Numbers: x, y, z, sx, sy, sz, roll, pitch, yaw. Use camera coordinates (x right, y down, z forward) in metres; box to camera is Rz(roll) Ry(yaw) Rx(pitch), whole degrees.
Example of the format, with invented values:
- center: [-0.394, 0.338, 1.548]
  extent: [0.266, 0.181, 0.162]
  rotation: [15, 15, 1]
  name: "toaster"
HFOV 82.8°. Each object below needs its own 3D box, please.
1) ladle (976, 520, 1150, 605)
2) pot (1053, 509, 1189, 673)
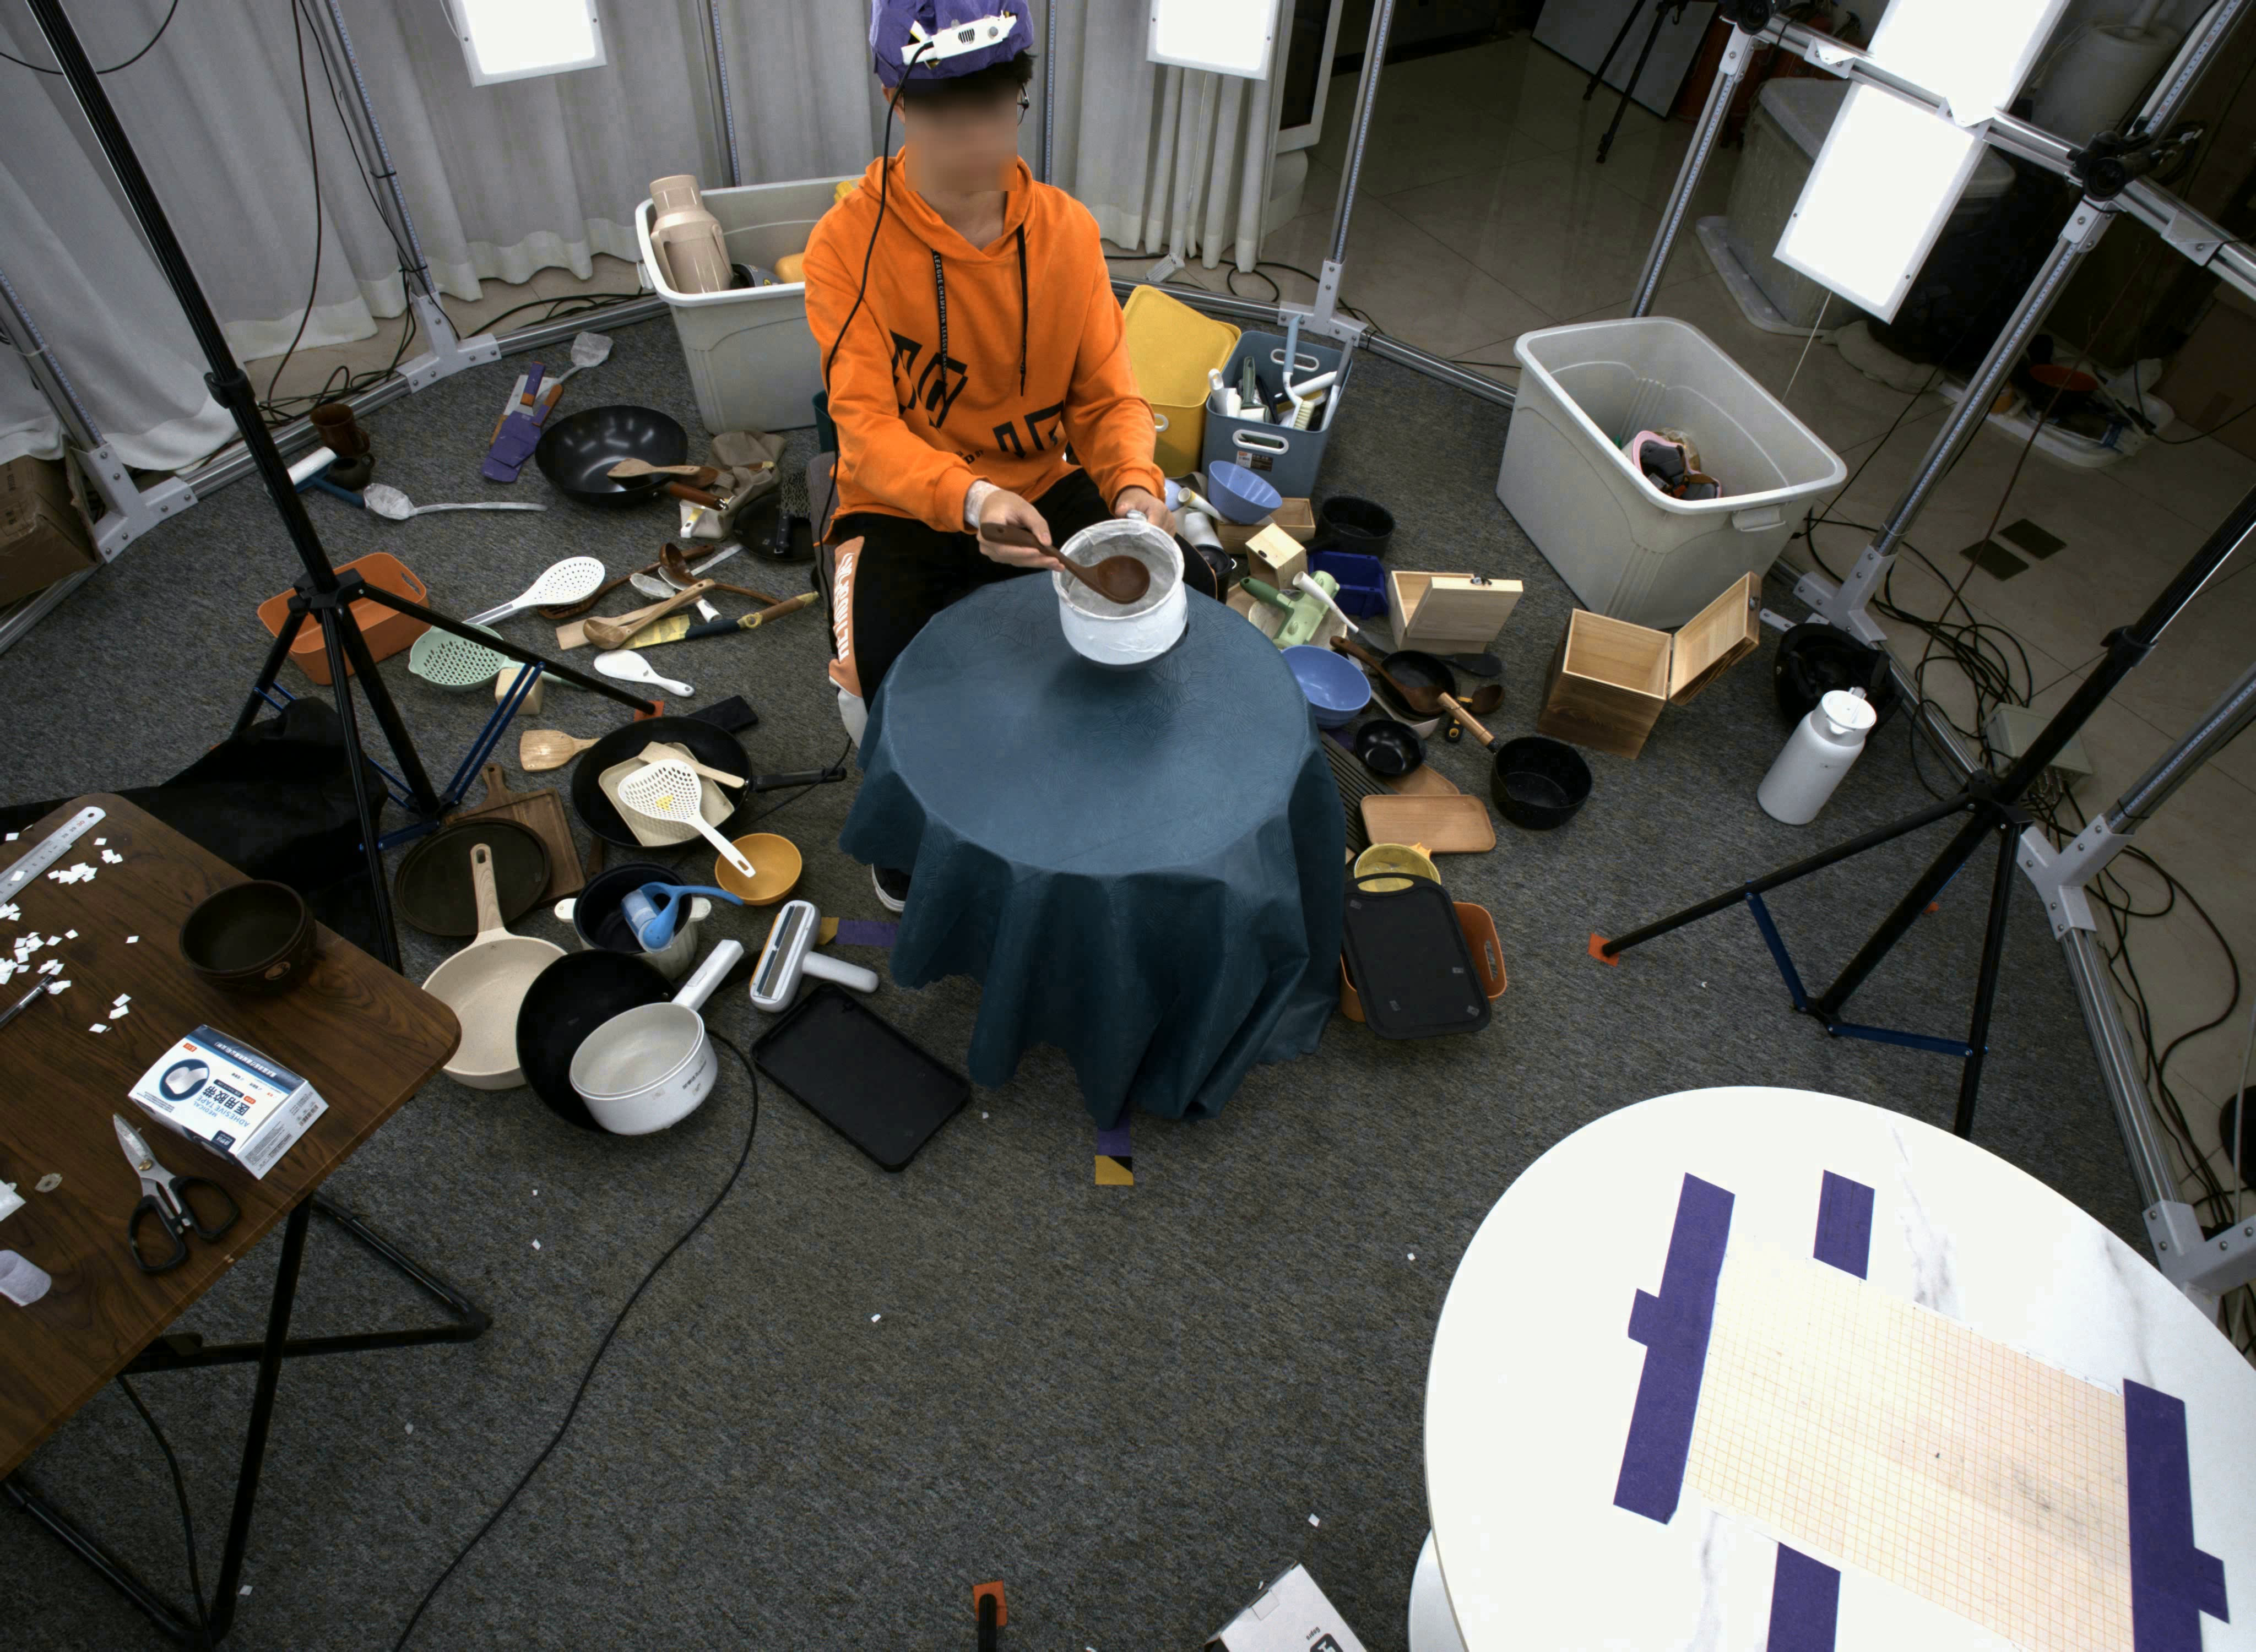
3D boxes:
- center: [-0.077, -0.350, 1.656]
  extent: [0.257, 0.064, 0.078]
  rotation: [18, 46, -43]
  name: "ladle"
- center: [-0.002, -0.335, 1.781]
  extent: [0.179, 0.133, 0.238]
  rotation: [6, 59, 10]
  name: "pot"
